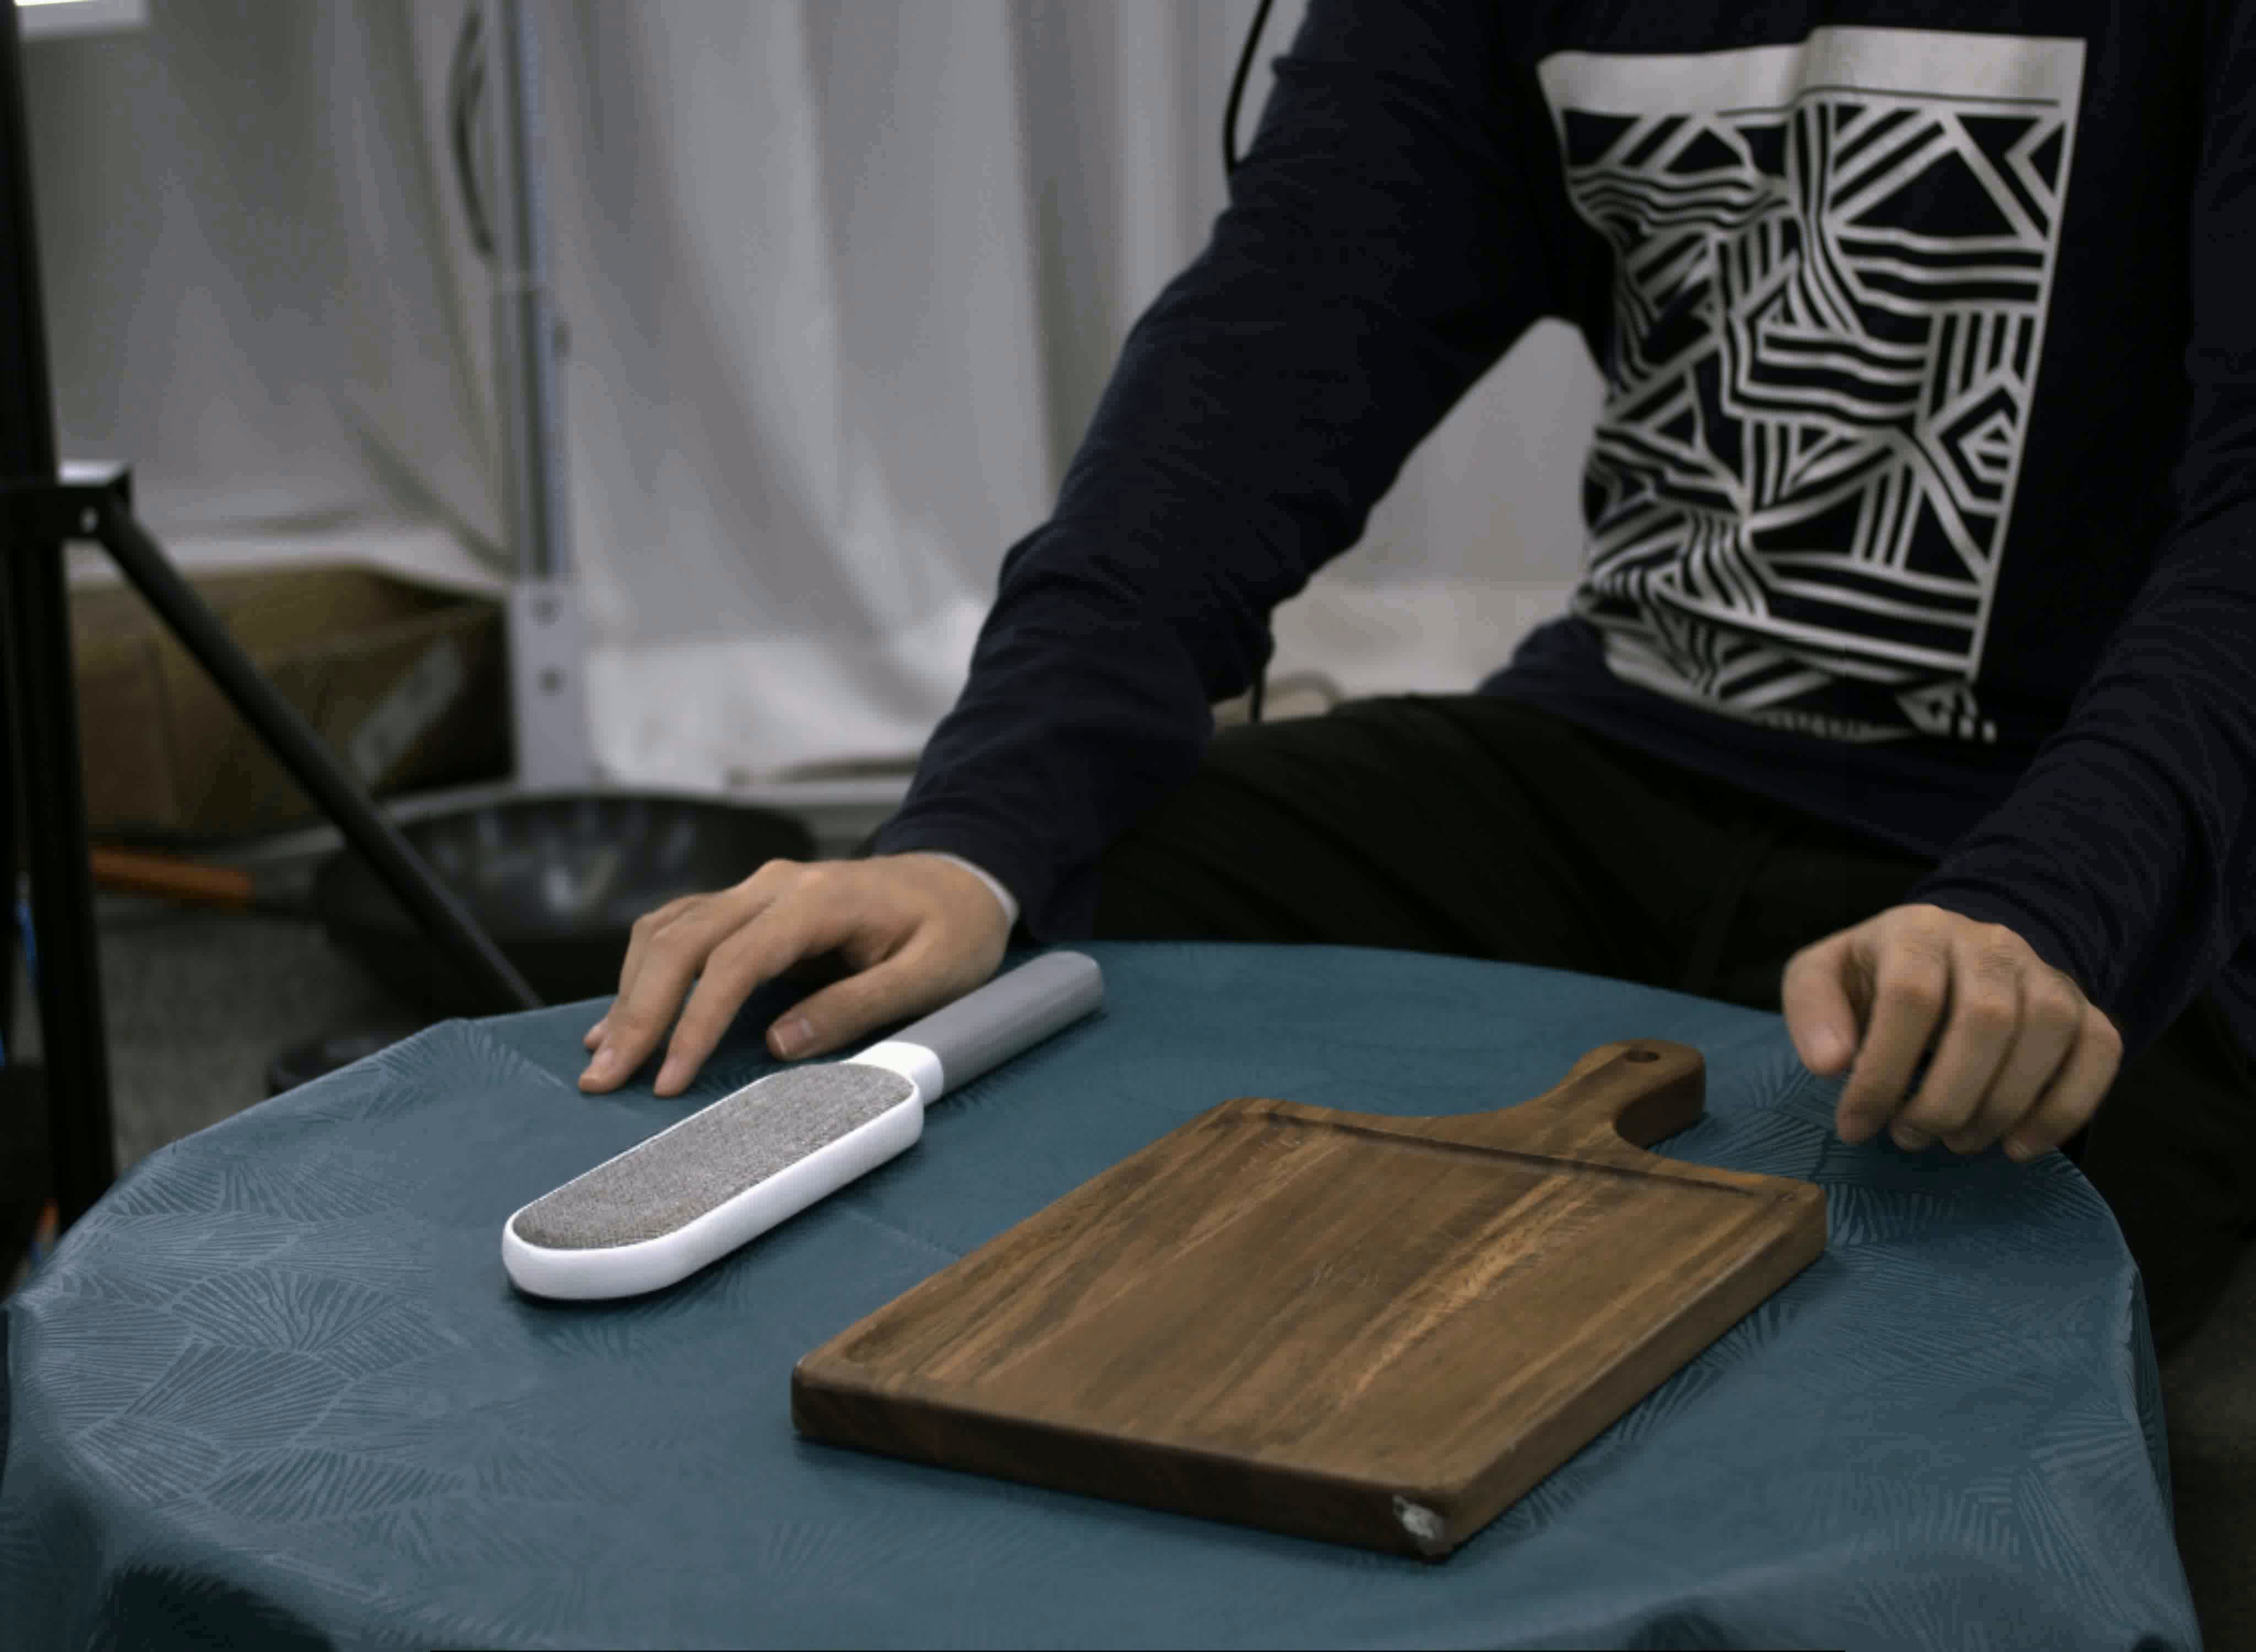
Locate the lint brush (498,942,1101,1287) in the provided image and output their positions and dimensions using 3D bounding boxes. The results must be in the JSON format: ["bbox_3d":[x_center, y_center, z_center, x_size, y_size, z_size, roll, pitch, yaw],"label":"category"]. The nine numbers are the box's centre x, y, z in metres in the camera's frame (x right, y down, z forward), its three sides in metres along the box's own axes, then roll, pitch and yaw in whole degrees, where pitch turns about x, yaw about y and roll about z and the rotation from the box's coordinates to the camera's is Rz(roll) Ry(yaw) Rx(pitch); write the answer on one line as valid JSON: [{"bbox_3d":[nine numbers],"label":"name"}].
[{"bbox_3d":[-0.088,0.084,1.611,0.061,0.021,0.303,1,15,30],"label":"lint brush"}]

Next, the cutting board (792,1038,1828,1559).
[{"bbox_3d":[0.079,0.118,1.477,0.204,0.023,0.346,7,18,30],"label":"cutting board"}]
